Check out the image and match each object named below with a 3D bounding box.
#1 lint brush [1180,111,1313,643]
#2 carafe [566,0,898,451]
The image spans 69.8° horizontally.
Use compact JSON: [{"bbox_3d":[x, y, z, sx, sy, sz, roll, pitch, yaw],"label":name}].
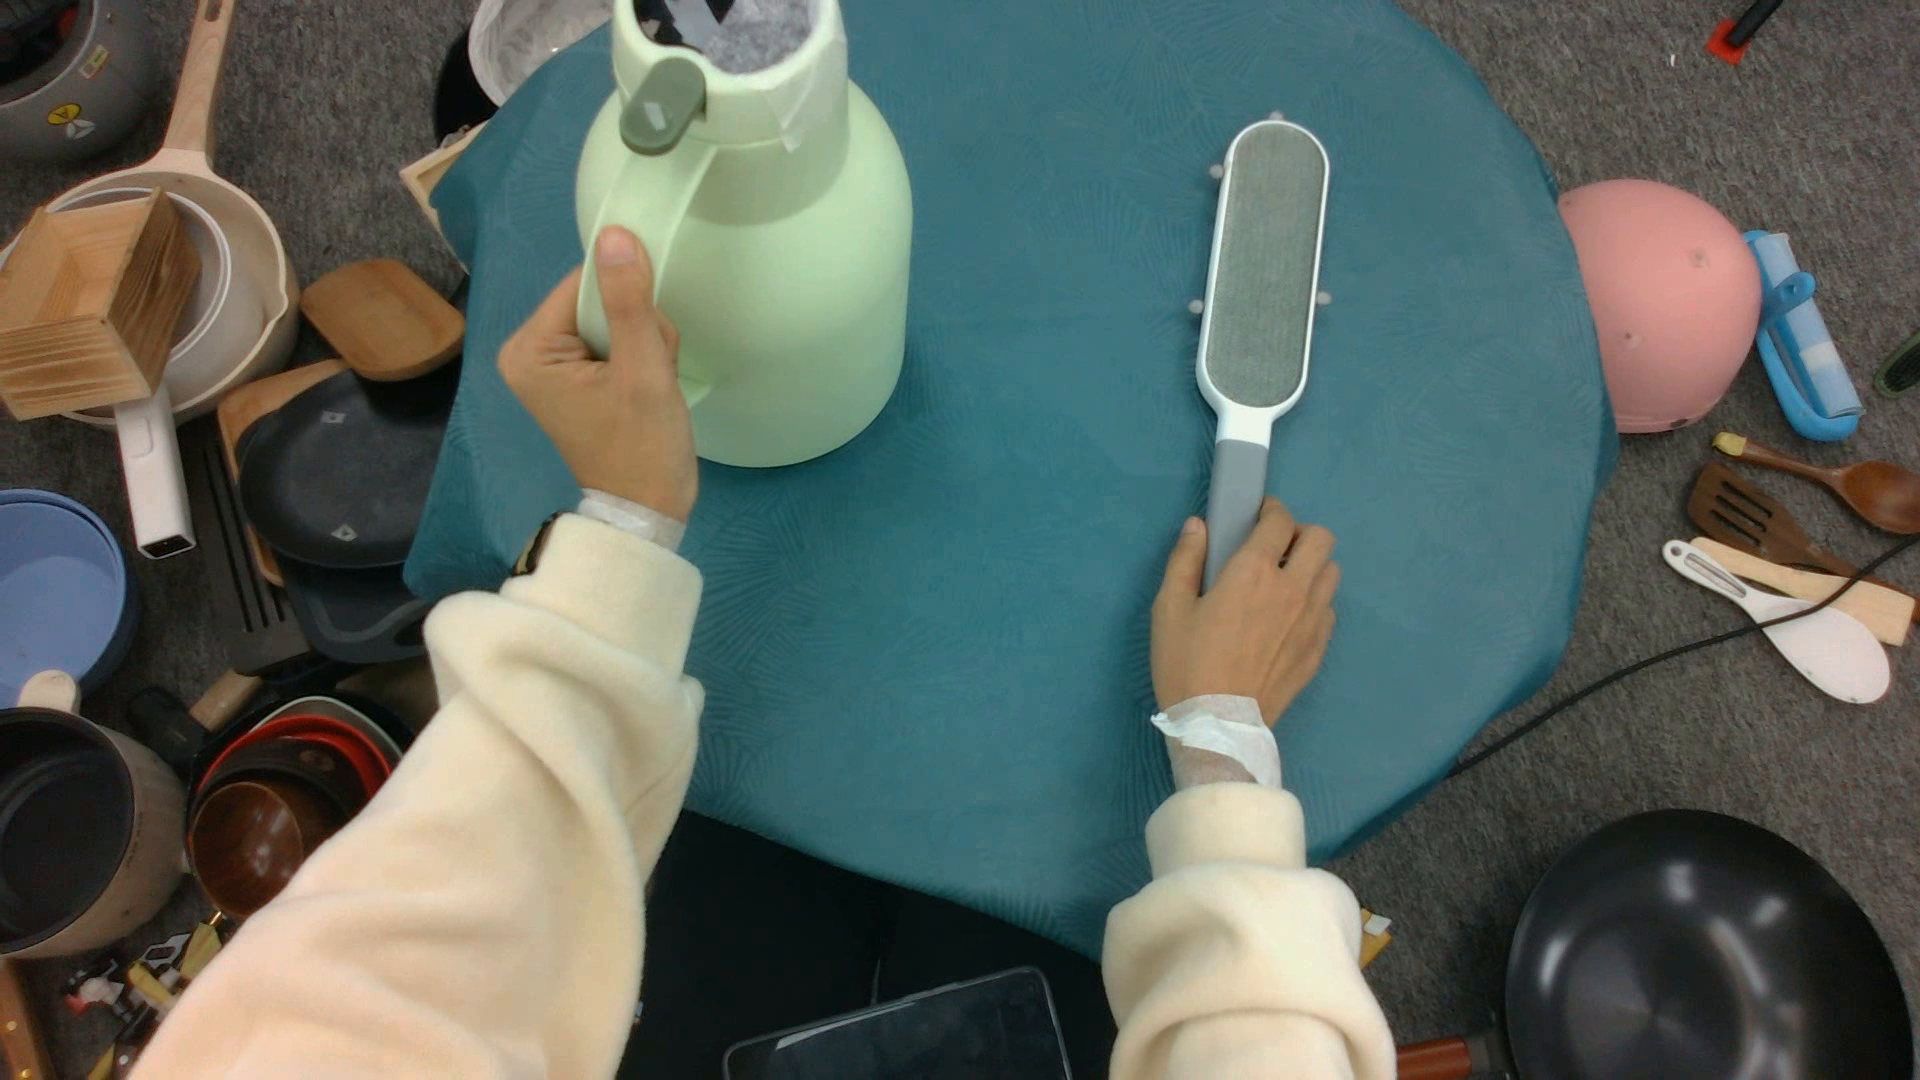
[{"bbox_3d":[0.143,-0.094,0.712,0.060,0.021,0.310,11,69,-2],"label":"lint brush"},{"bbox_3d":[-0.103,-0.134,0.590,0.144,0.256,0.187,24,73,1],"label":"carafe"}]
